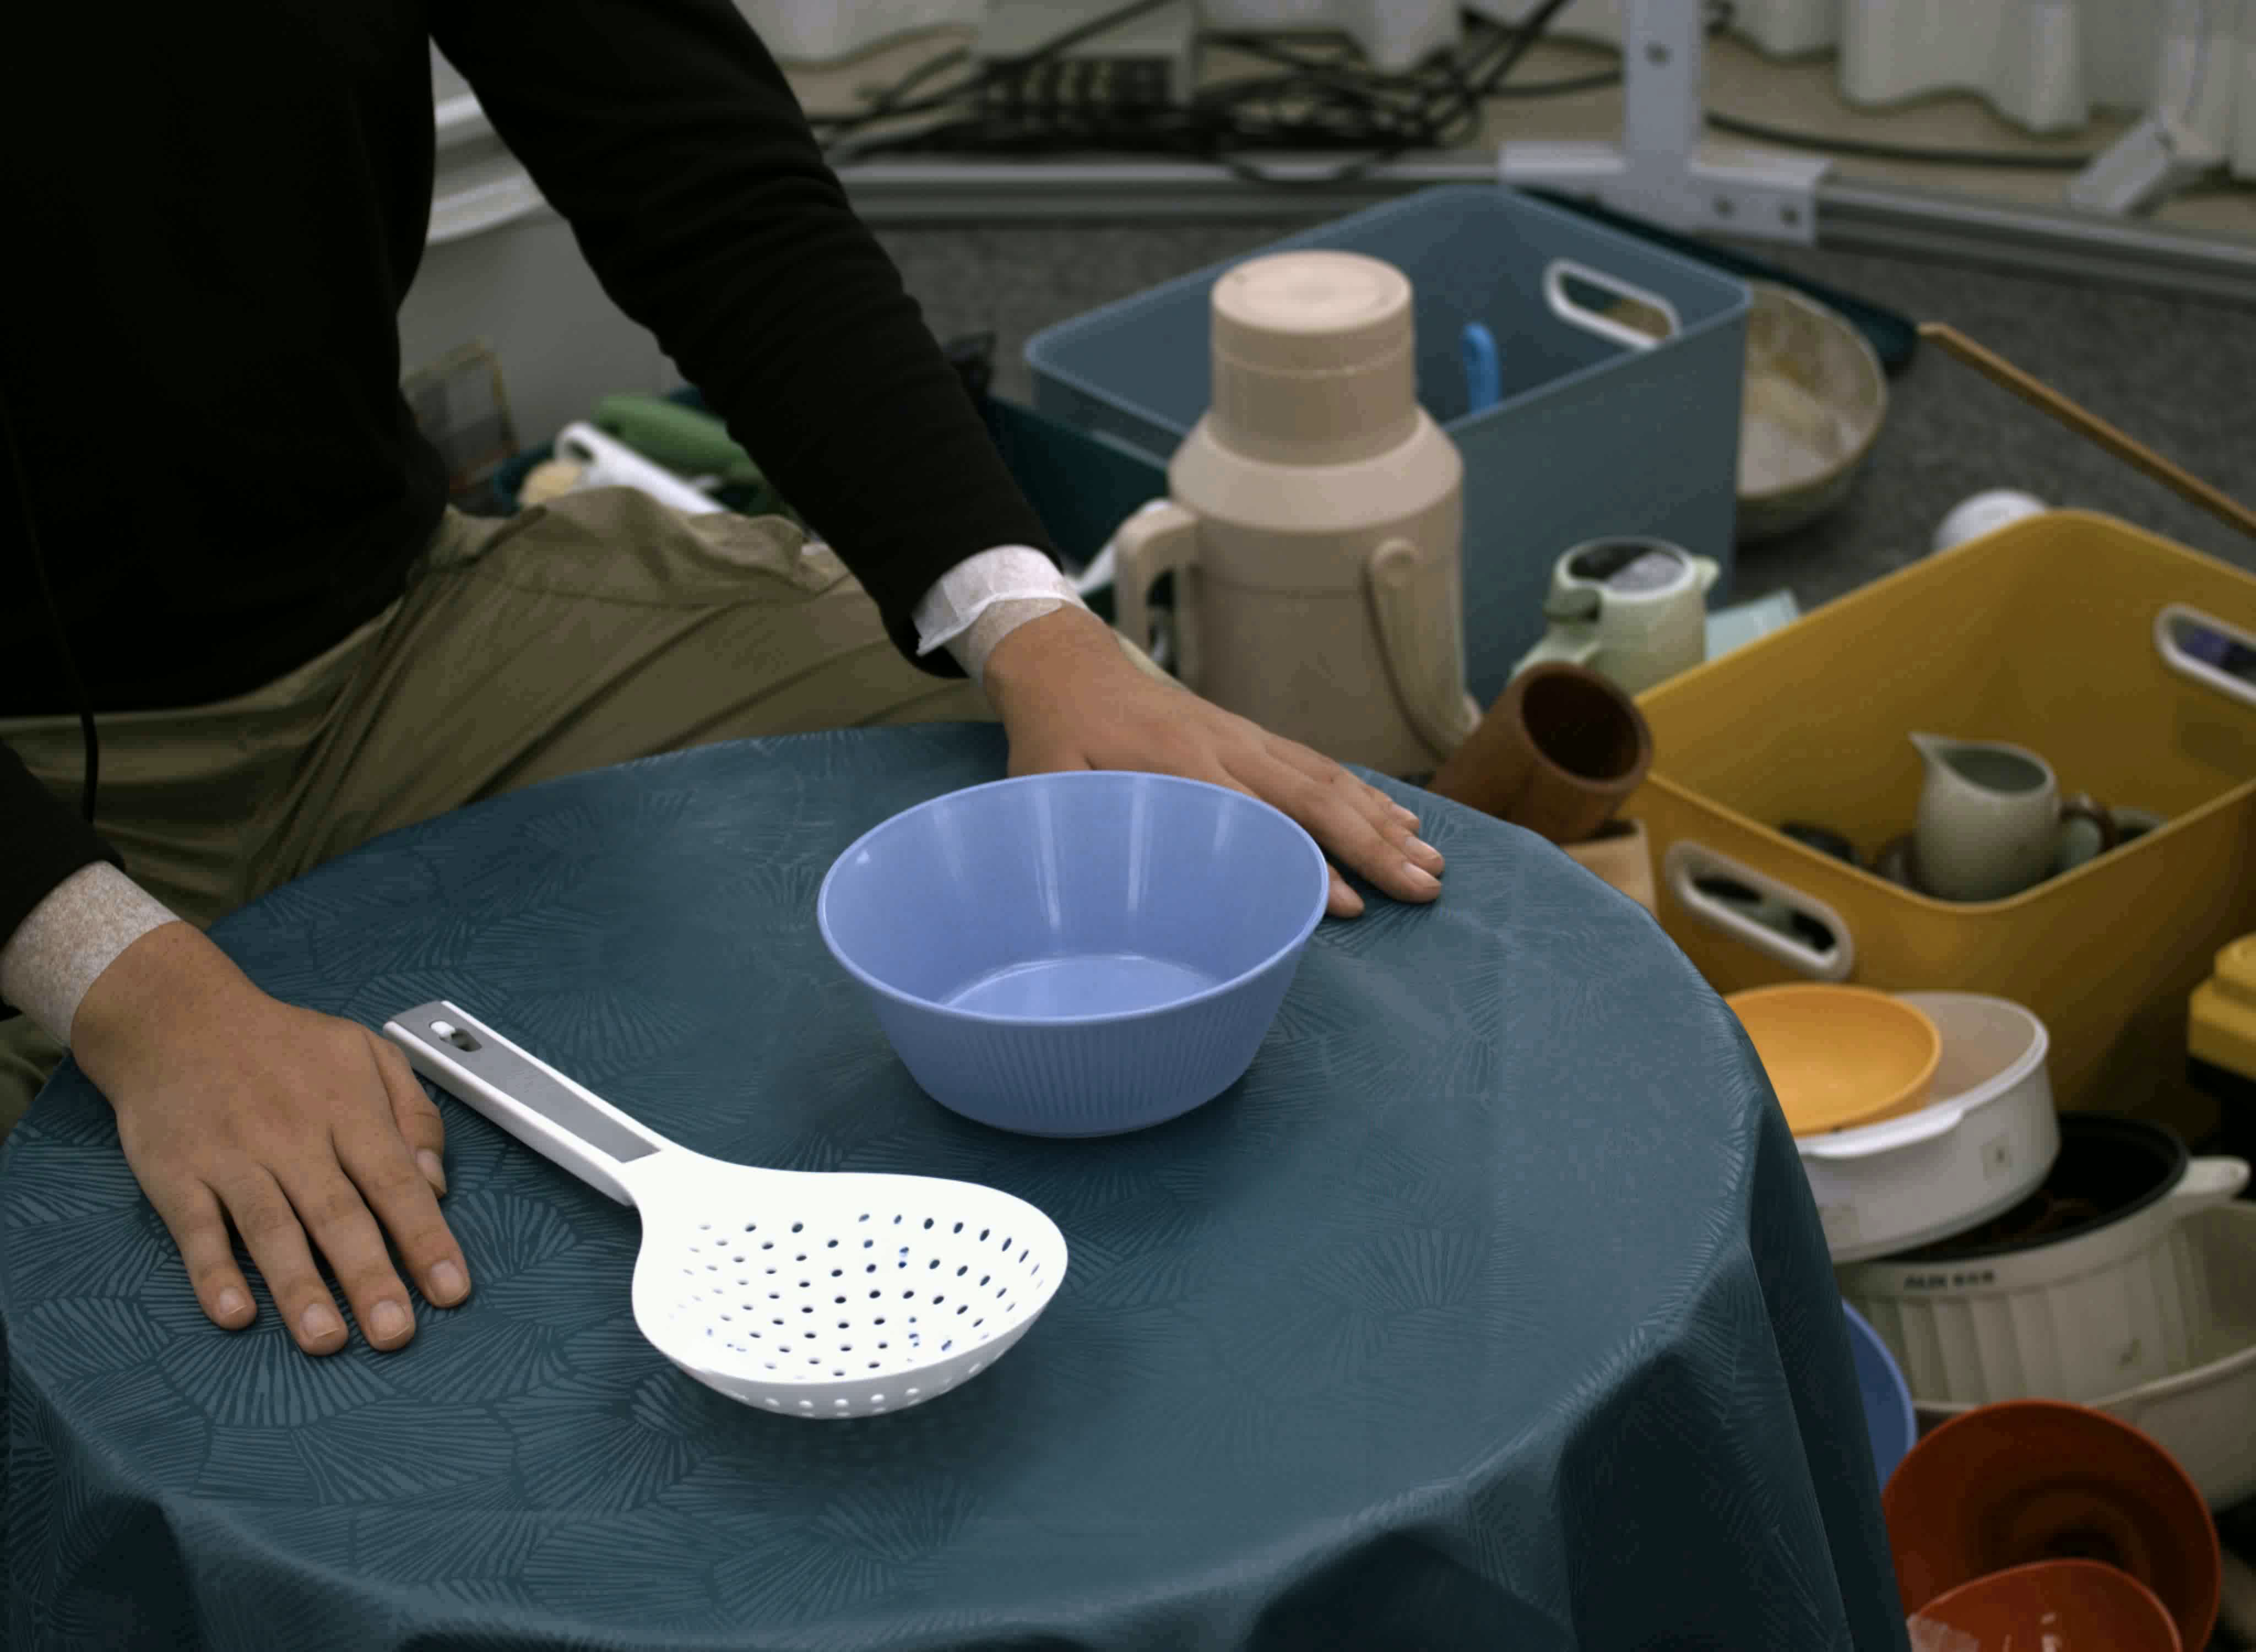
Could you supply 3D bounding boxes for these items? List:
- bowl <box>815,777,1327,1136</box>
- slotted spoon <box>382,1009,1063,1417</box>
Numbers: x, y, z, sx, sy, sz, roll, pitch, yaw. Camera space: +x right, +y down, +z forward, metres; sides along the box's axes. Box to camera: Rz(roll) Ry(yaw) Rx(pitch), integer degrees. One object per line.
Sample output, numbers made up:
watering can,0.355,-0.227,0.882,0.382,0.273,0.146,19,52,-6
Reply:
bowl,-0.017,0.050,1.927,0.175,0.069,0.178,-3,26,2
slotted spoon,-0.150,0.119,1.833,0.137,0.045,0.350,-21,31,-31
